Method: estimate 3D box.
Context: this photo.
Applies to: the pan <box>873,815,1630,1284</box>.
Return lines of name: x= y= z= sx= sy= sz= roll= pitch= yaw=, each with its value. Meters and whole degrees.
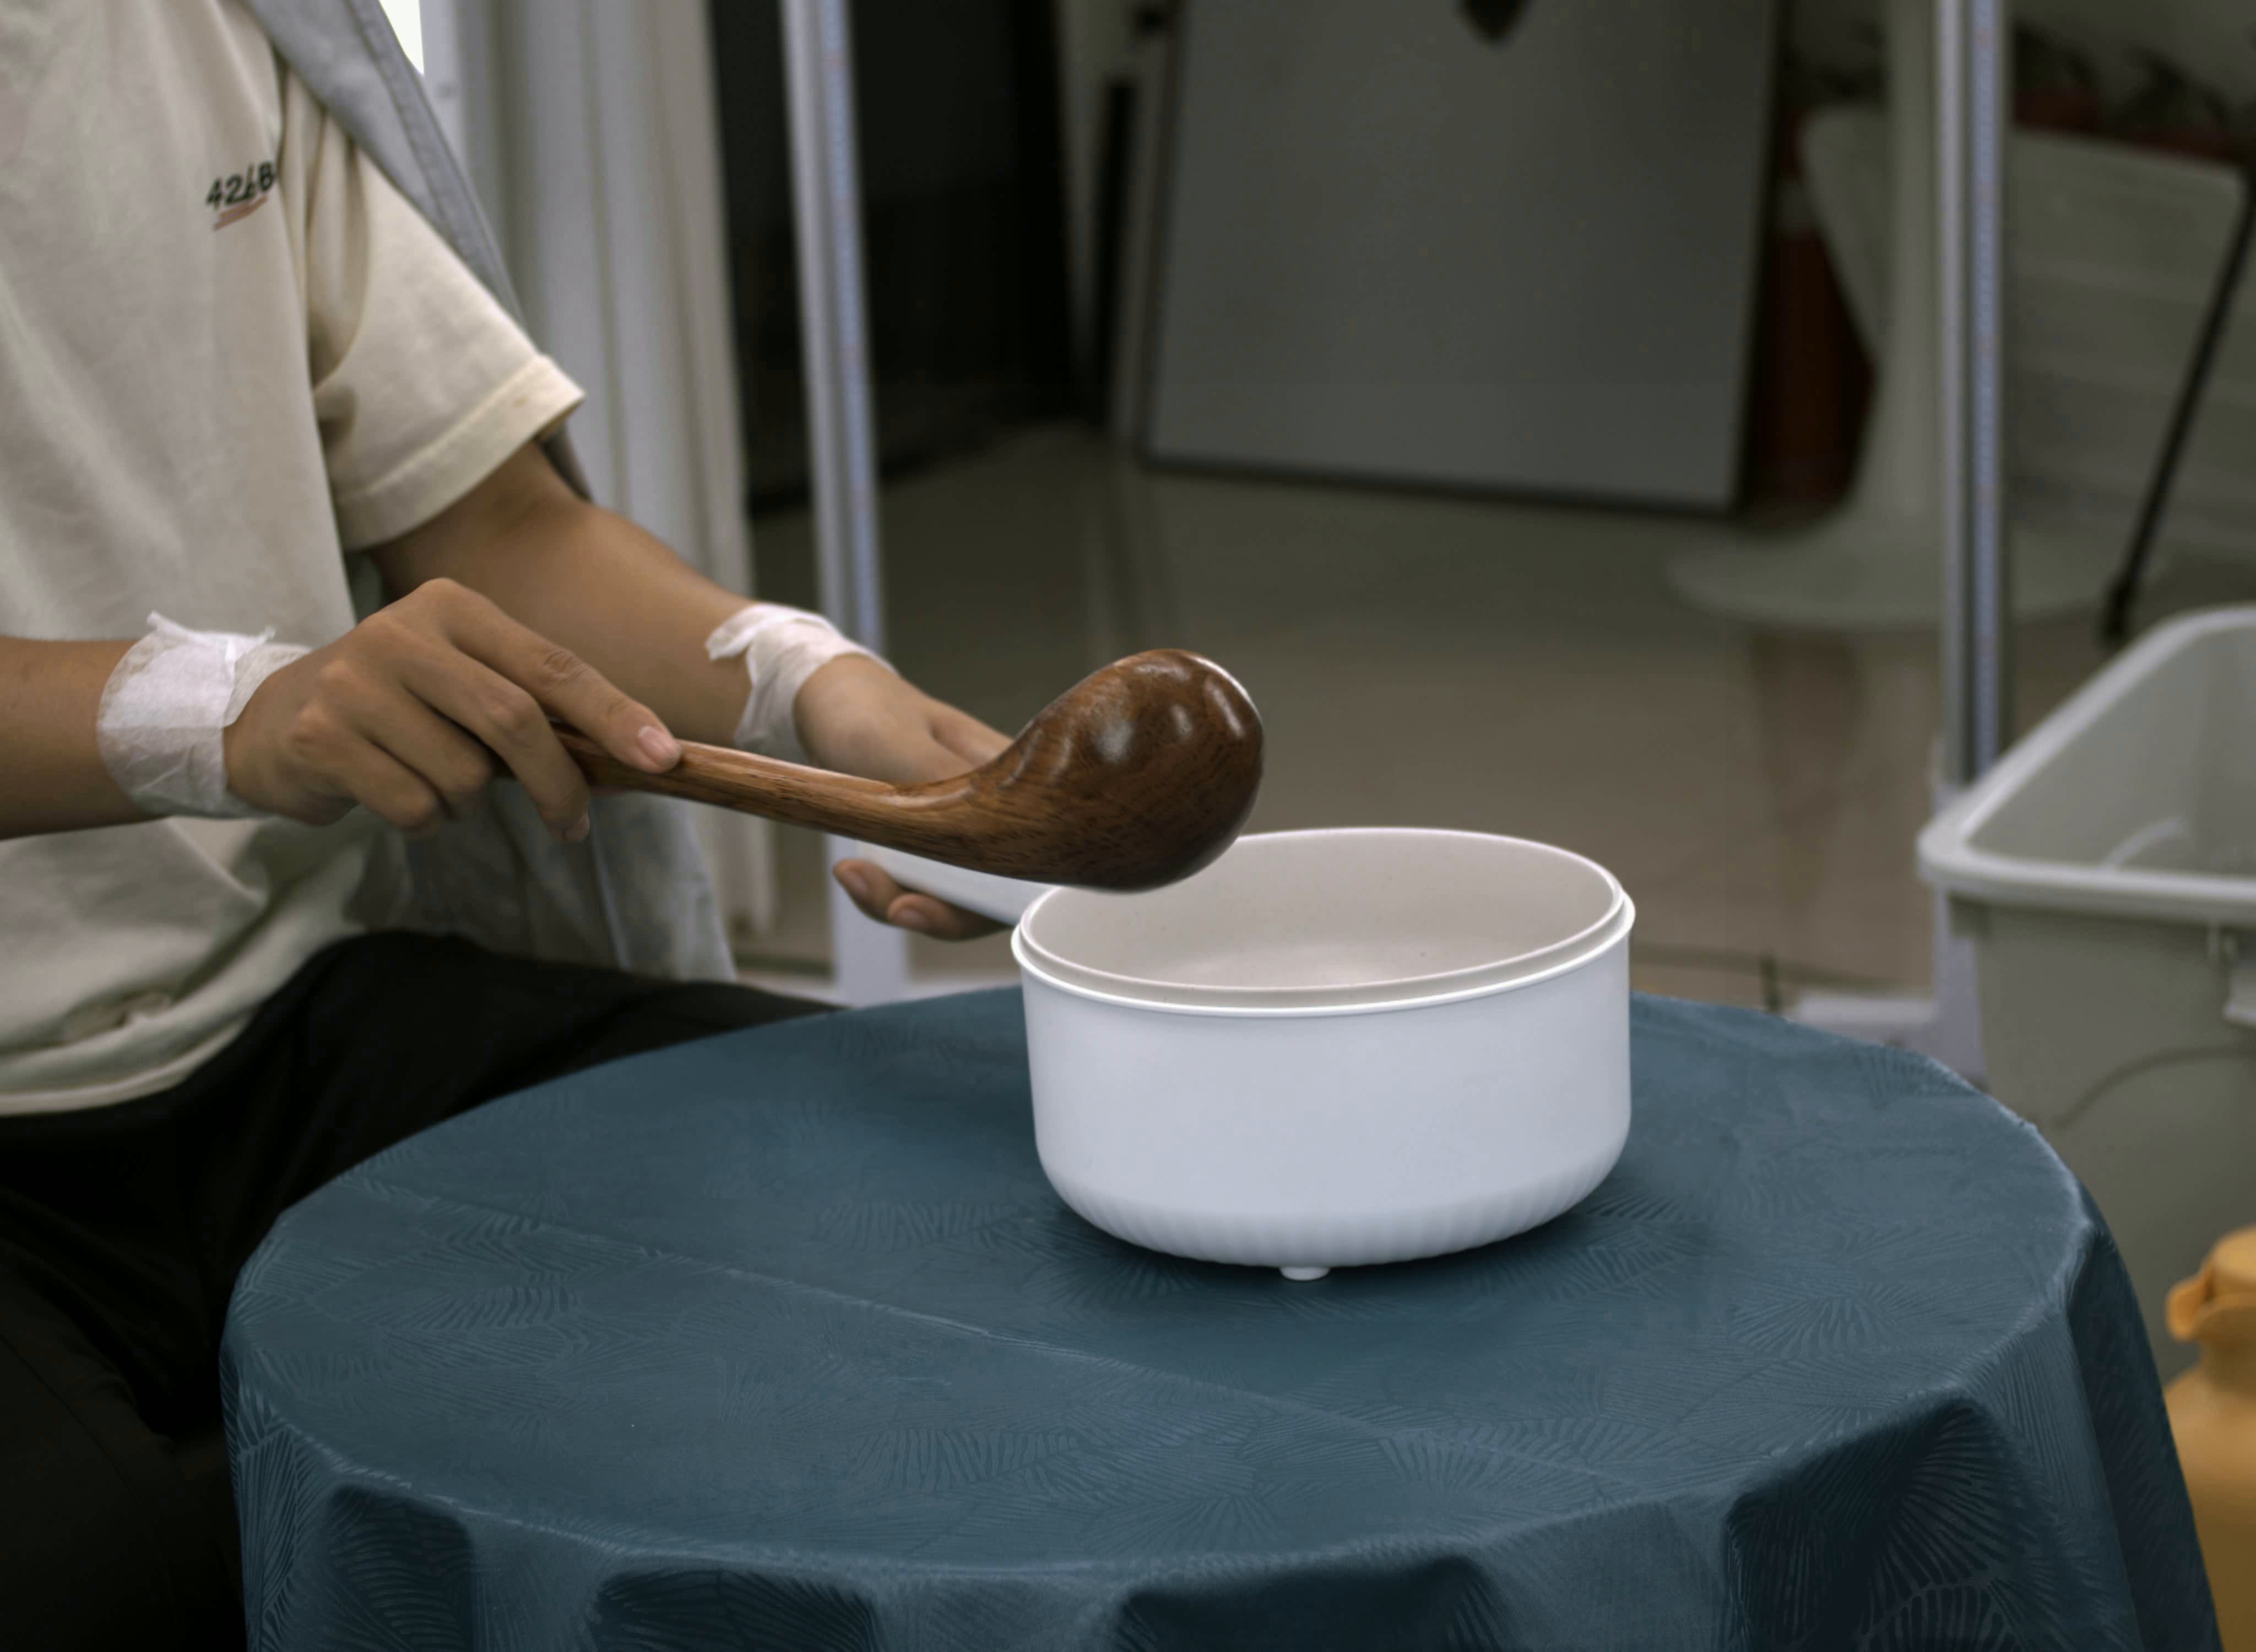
pan: x=0.022 y=0.062 z=1.800 sx=0.197 sy=0.103 sz=0.358 roll=-13 pitch=16 yaw=-31

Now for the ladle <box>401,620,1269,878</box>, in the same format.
ladle: x=-0.088 y=-0.033 z=1.604 sx=0.275 sy=0.082 sz=0.076 roll=9 pitch=47 yaw=29
